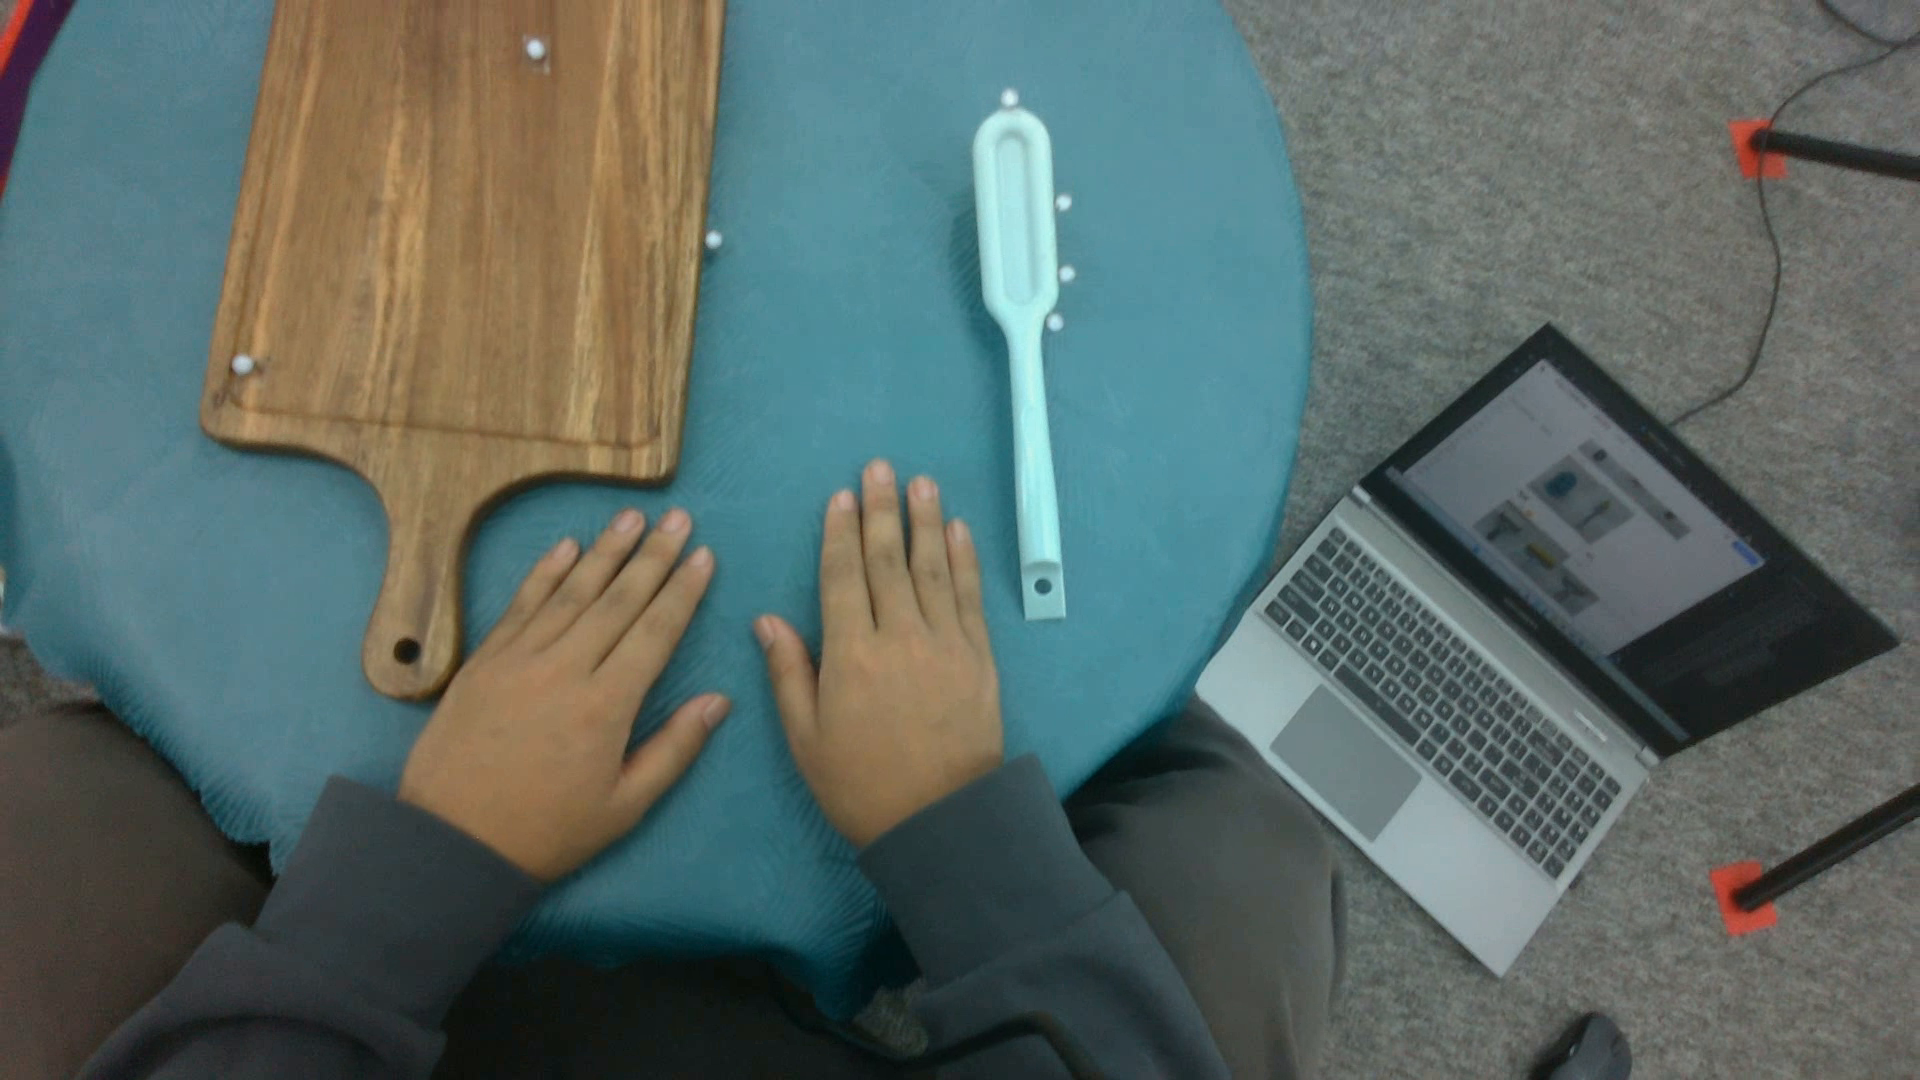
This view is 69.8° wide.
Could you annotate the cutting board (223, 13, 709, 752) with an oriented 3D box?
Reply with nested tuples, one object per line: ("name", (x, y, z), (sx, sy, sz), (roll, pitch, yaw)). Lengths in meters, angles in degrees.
("cutting board", (-0.225, -0.080, 0.636), (0.201, 0.023, 0.353), (3, 76, -6))

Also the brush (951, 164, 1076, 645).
("brush", (0.030, -0.064, 0.659), (0.038, 0.049, 0.229), (-10, 85, 3))
